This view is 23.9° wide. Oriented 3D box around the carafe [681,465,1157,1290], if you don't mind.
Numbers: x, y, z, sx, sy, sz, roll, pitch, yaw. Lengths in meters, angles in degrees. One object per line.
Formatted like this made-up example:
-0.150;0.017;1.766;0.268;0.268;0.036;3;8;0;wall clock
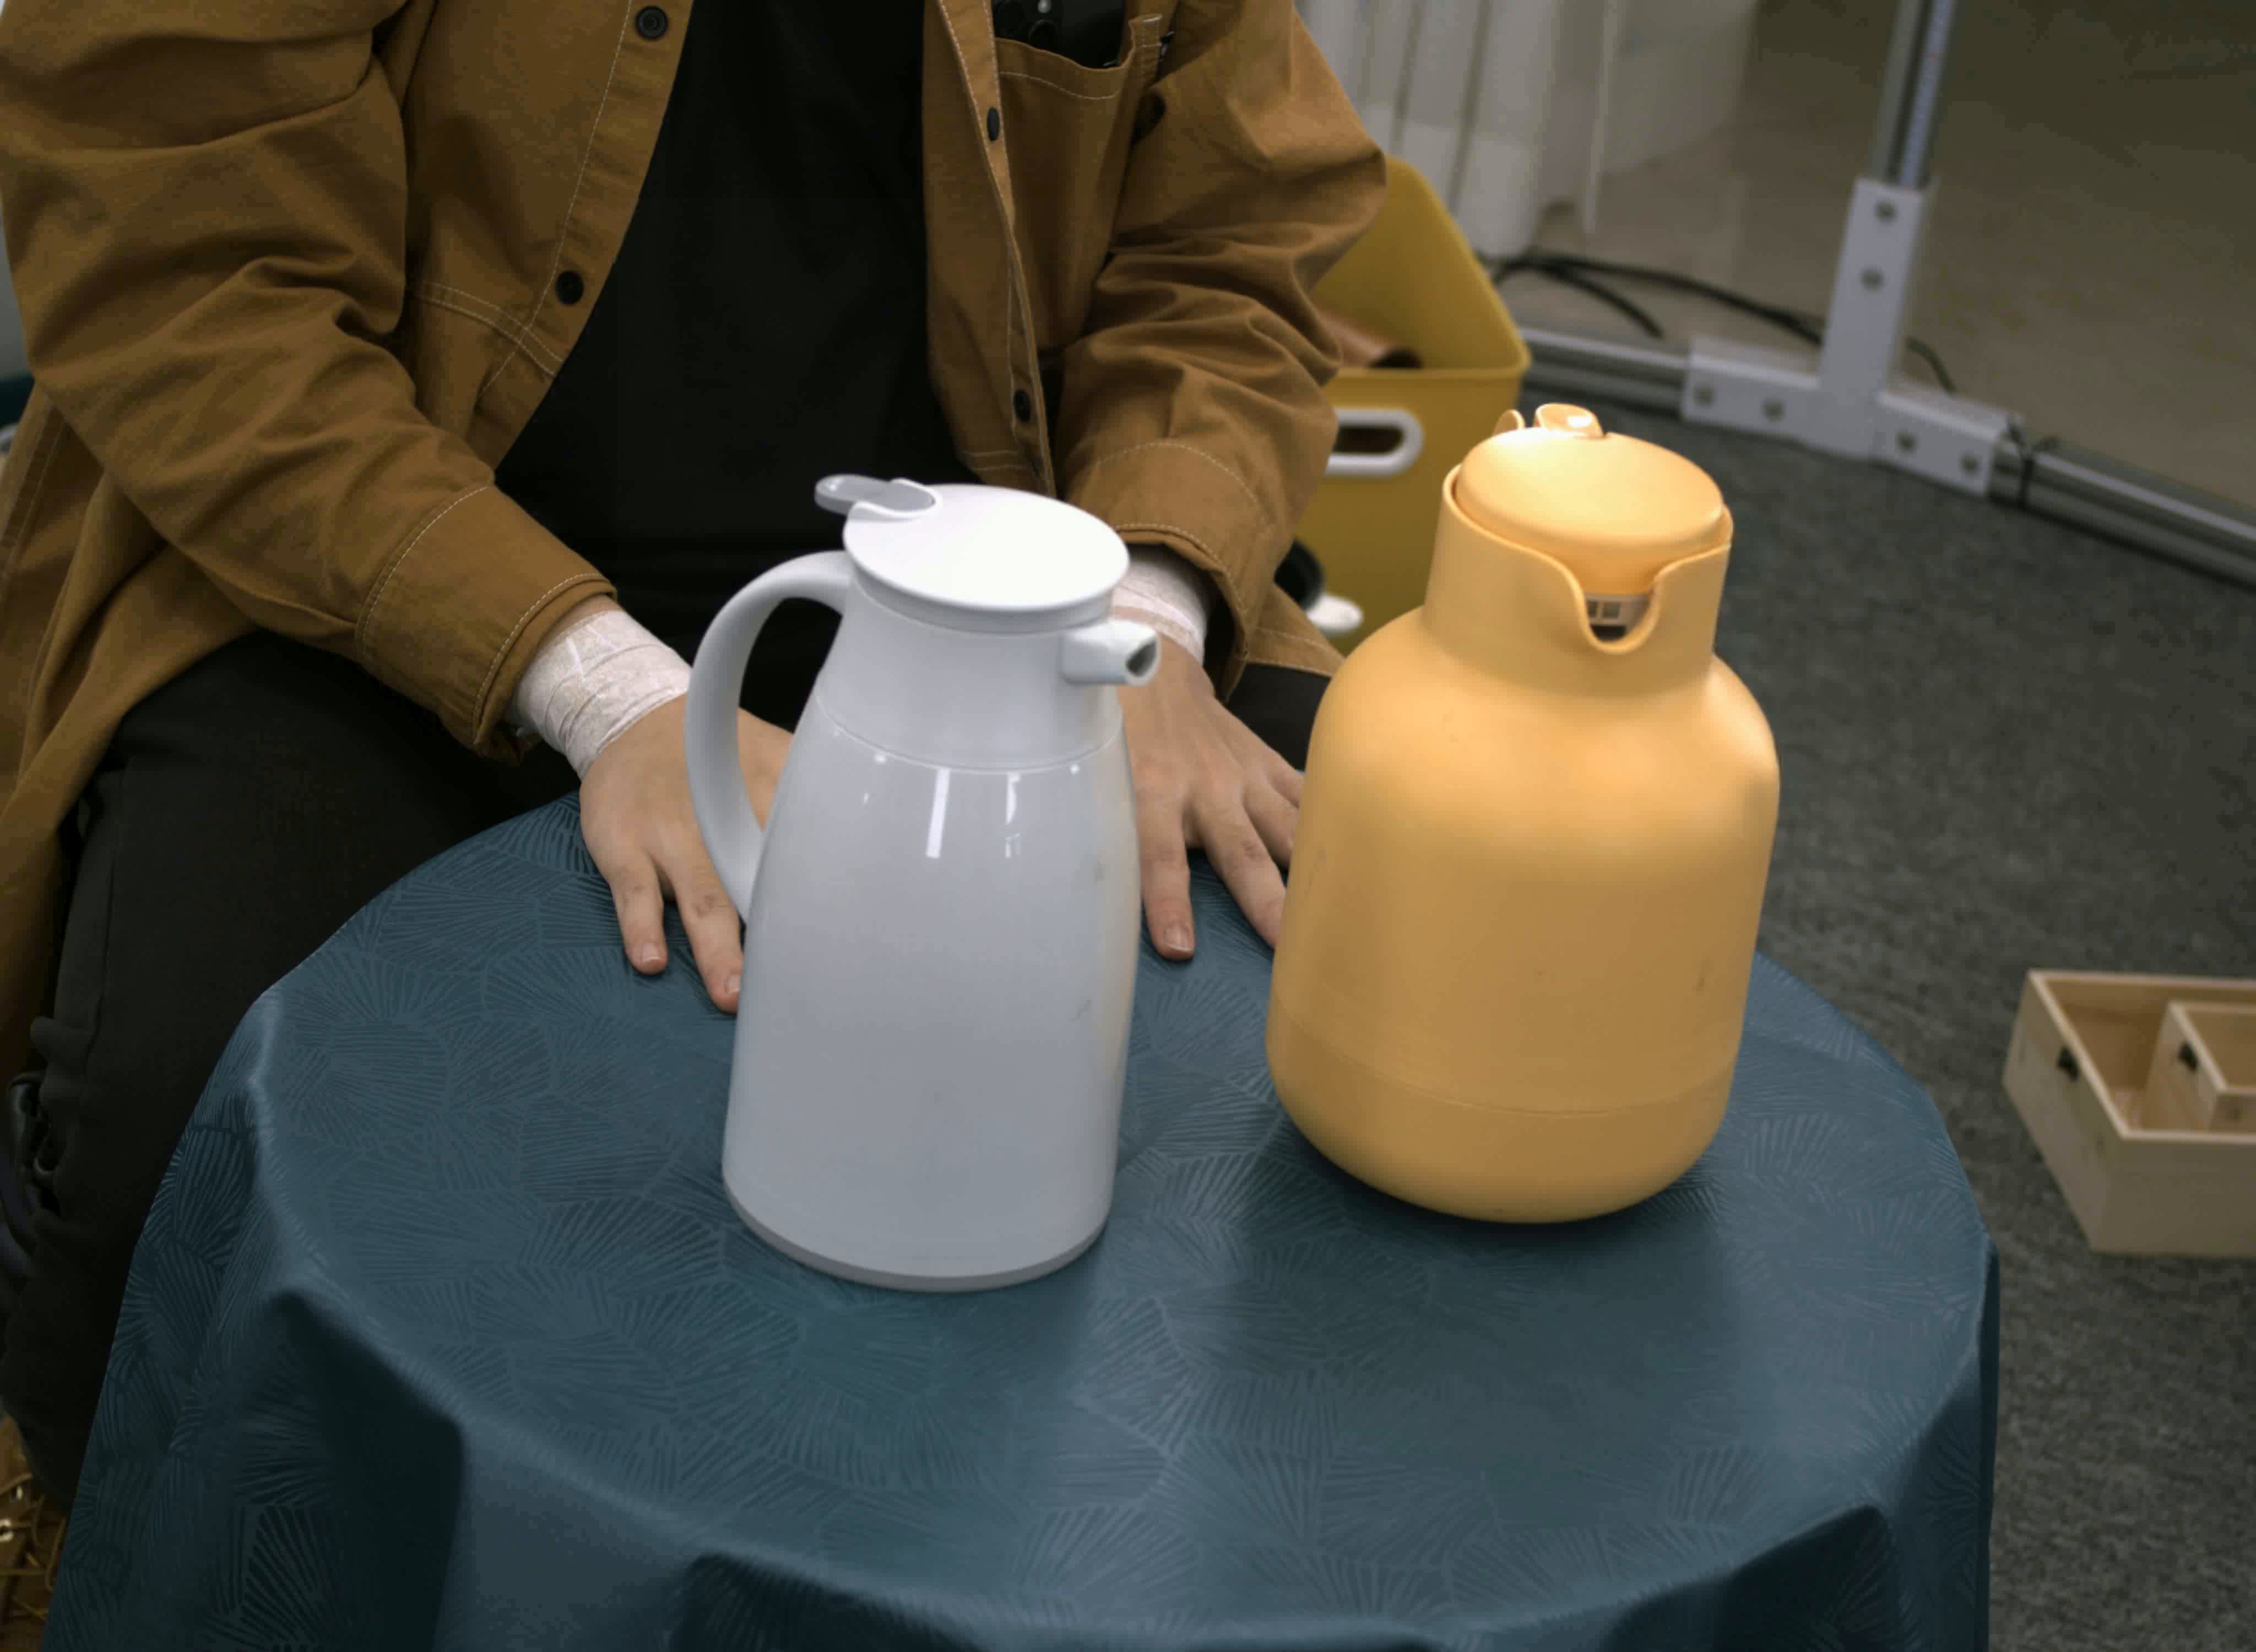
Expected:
-0.076;0.007;1.745;0.168;0.248;0.132;20;29;25;carafe

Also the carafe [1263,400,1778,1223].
0.139;-0.014;1.822;0.163;0.259;0.204;6;28;-5;carafe
